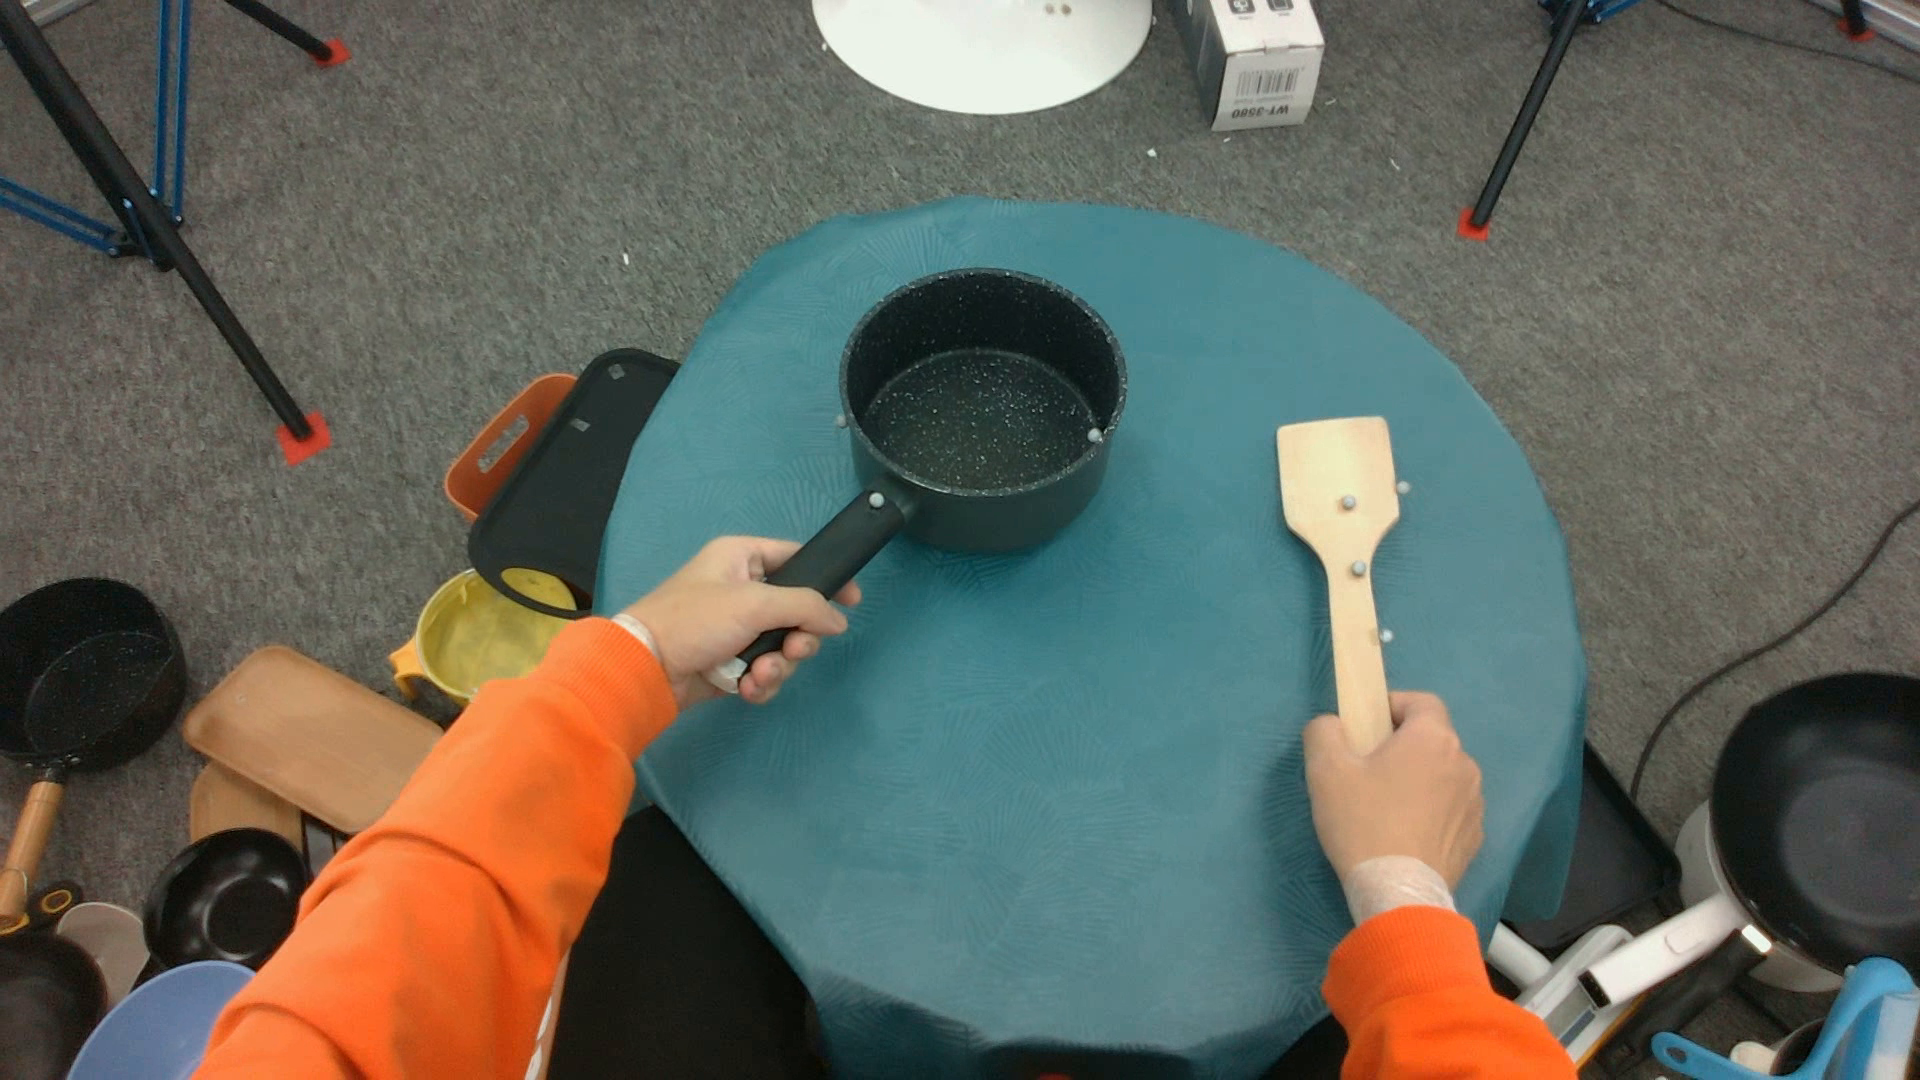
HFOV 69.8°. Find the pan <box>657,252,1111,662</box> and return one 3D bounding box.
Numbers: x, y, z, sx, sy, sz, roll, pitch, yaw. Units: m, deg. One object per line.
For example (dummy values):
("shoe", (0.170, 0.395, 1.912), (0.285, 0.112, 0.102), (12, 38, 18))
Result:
("pan", (-0.045, -0.035, 0.804), (0.172, 0.086, 0.330), (33, 61, 18))

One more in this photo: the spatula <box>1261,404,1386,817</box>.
("spatula", (0.223, 0.030, 0.812), (0.072, 0.010, 0.294), (-3, 51, 11))
